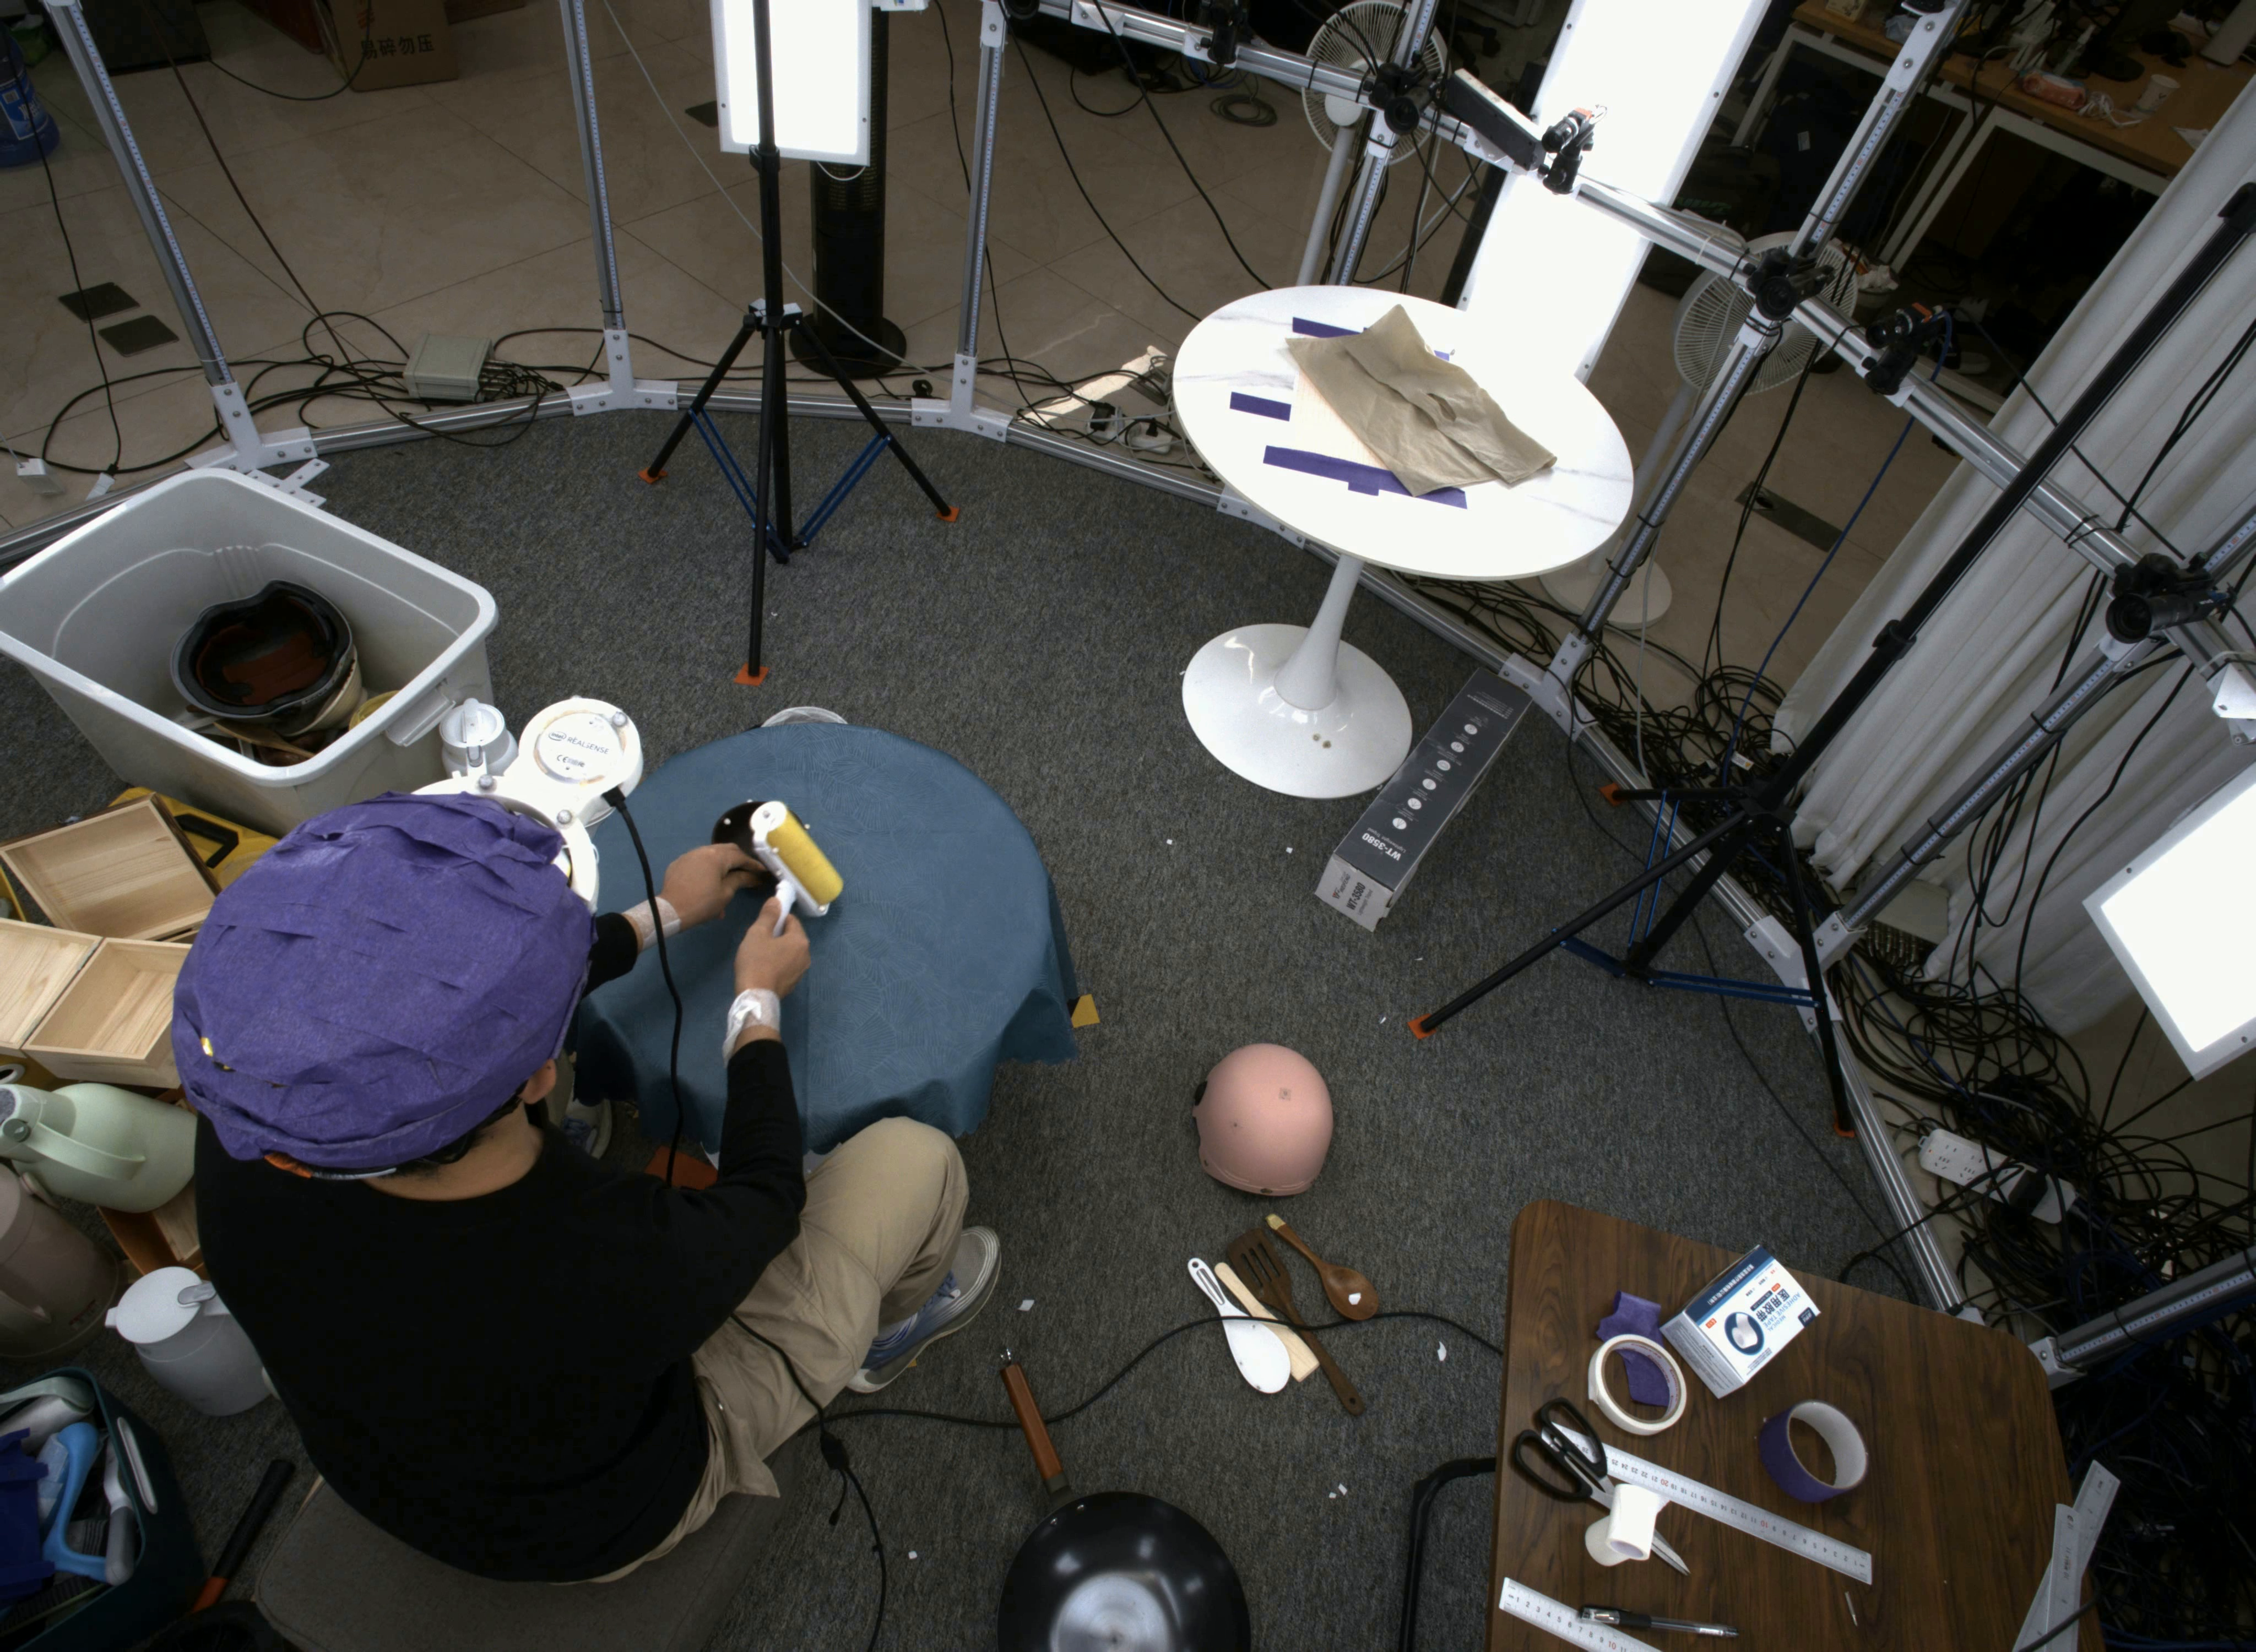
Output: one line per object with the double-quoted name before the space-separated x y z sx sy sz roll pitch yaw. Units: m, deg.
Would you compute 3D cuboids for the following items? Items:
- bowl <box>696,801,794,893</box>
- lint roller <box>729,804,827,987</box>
"bowl" -0.481 0.033 1.630 0.117 0.071 0.116 7 51 -7
"lint roller" -0.417 0.097 1.530 0.050 0.180 0.188 -12 56 9
